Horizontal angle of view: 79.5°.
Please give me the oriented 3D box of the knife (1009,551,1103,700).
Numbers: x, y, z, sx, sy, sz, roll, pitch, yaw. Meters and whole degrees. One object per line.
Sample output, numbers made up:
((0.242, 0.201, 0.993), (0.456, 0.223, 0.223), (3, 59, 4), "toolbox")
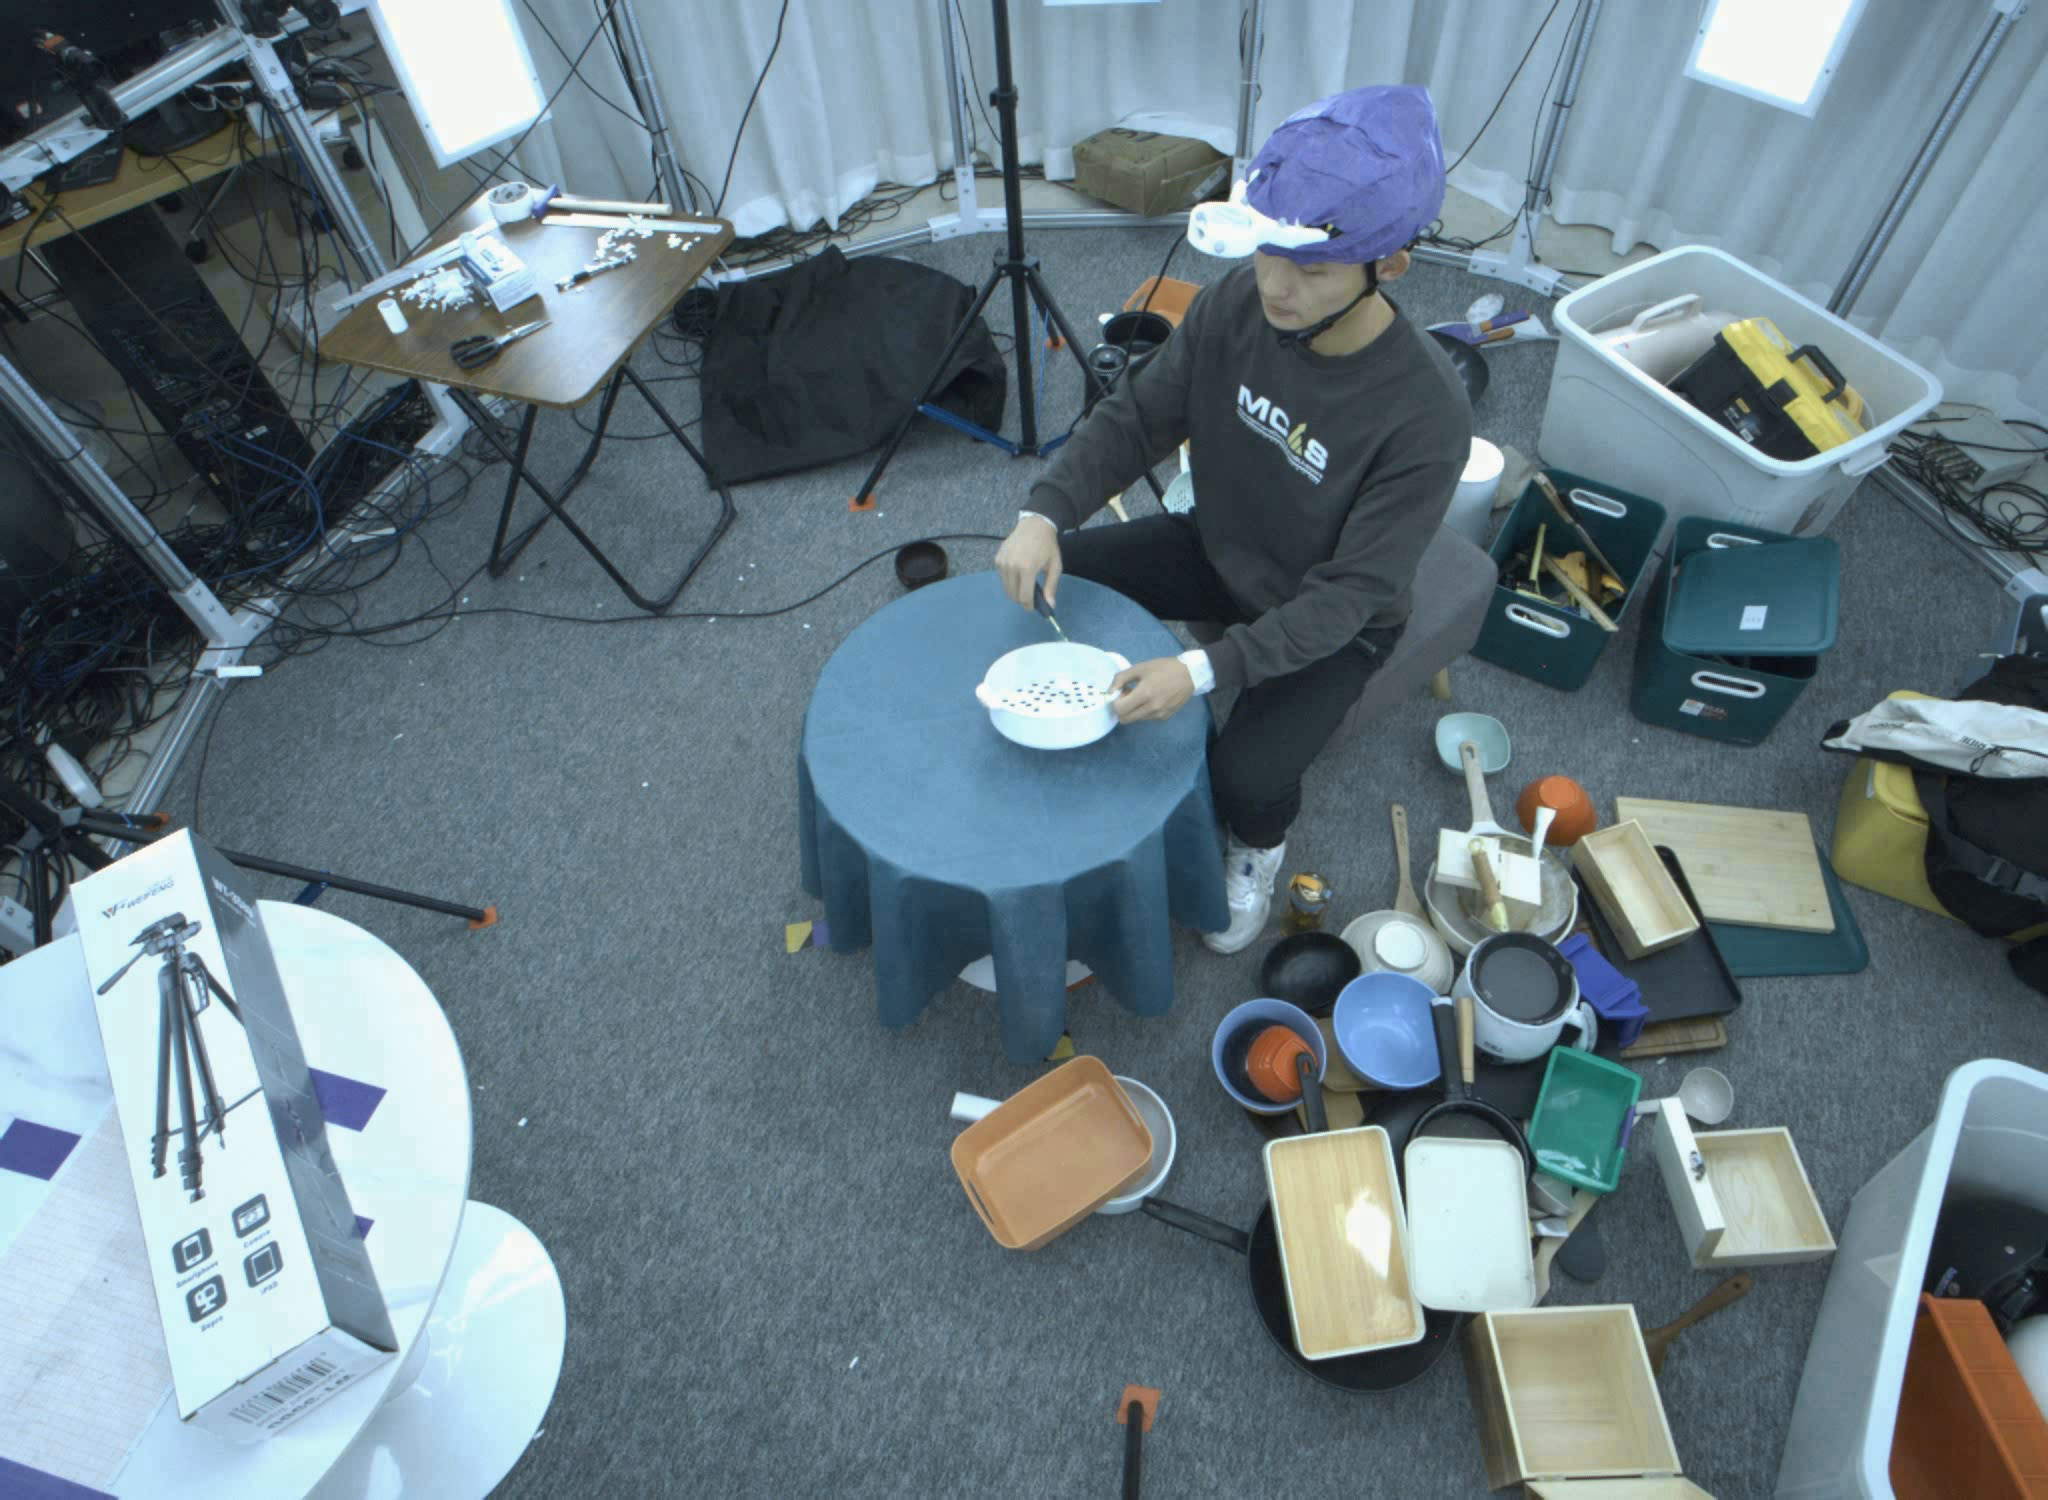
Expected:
((0.051, -0.176, 1.794), (0.027, 0.082, 0.285), (-31, 69, 3), "knife")

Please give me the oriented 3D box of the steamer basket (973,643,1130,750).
((0.040, -0.077, 1.779), (0.233, 0.070, 0.197), (-14, 38, -18), "steamer basket")
